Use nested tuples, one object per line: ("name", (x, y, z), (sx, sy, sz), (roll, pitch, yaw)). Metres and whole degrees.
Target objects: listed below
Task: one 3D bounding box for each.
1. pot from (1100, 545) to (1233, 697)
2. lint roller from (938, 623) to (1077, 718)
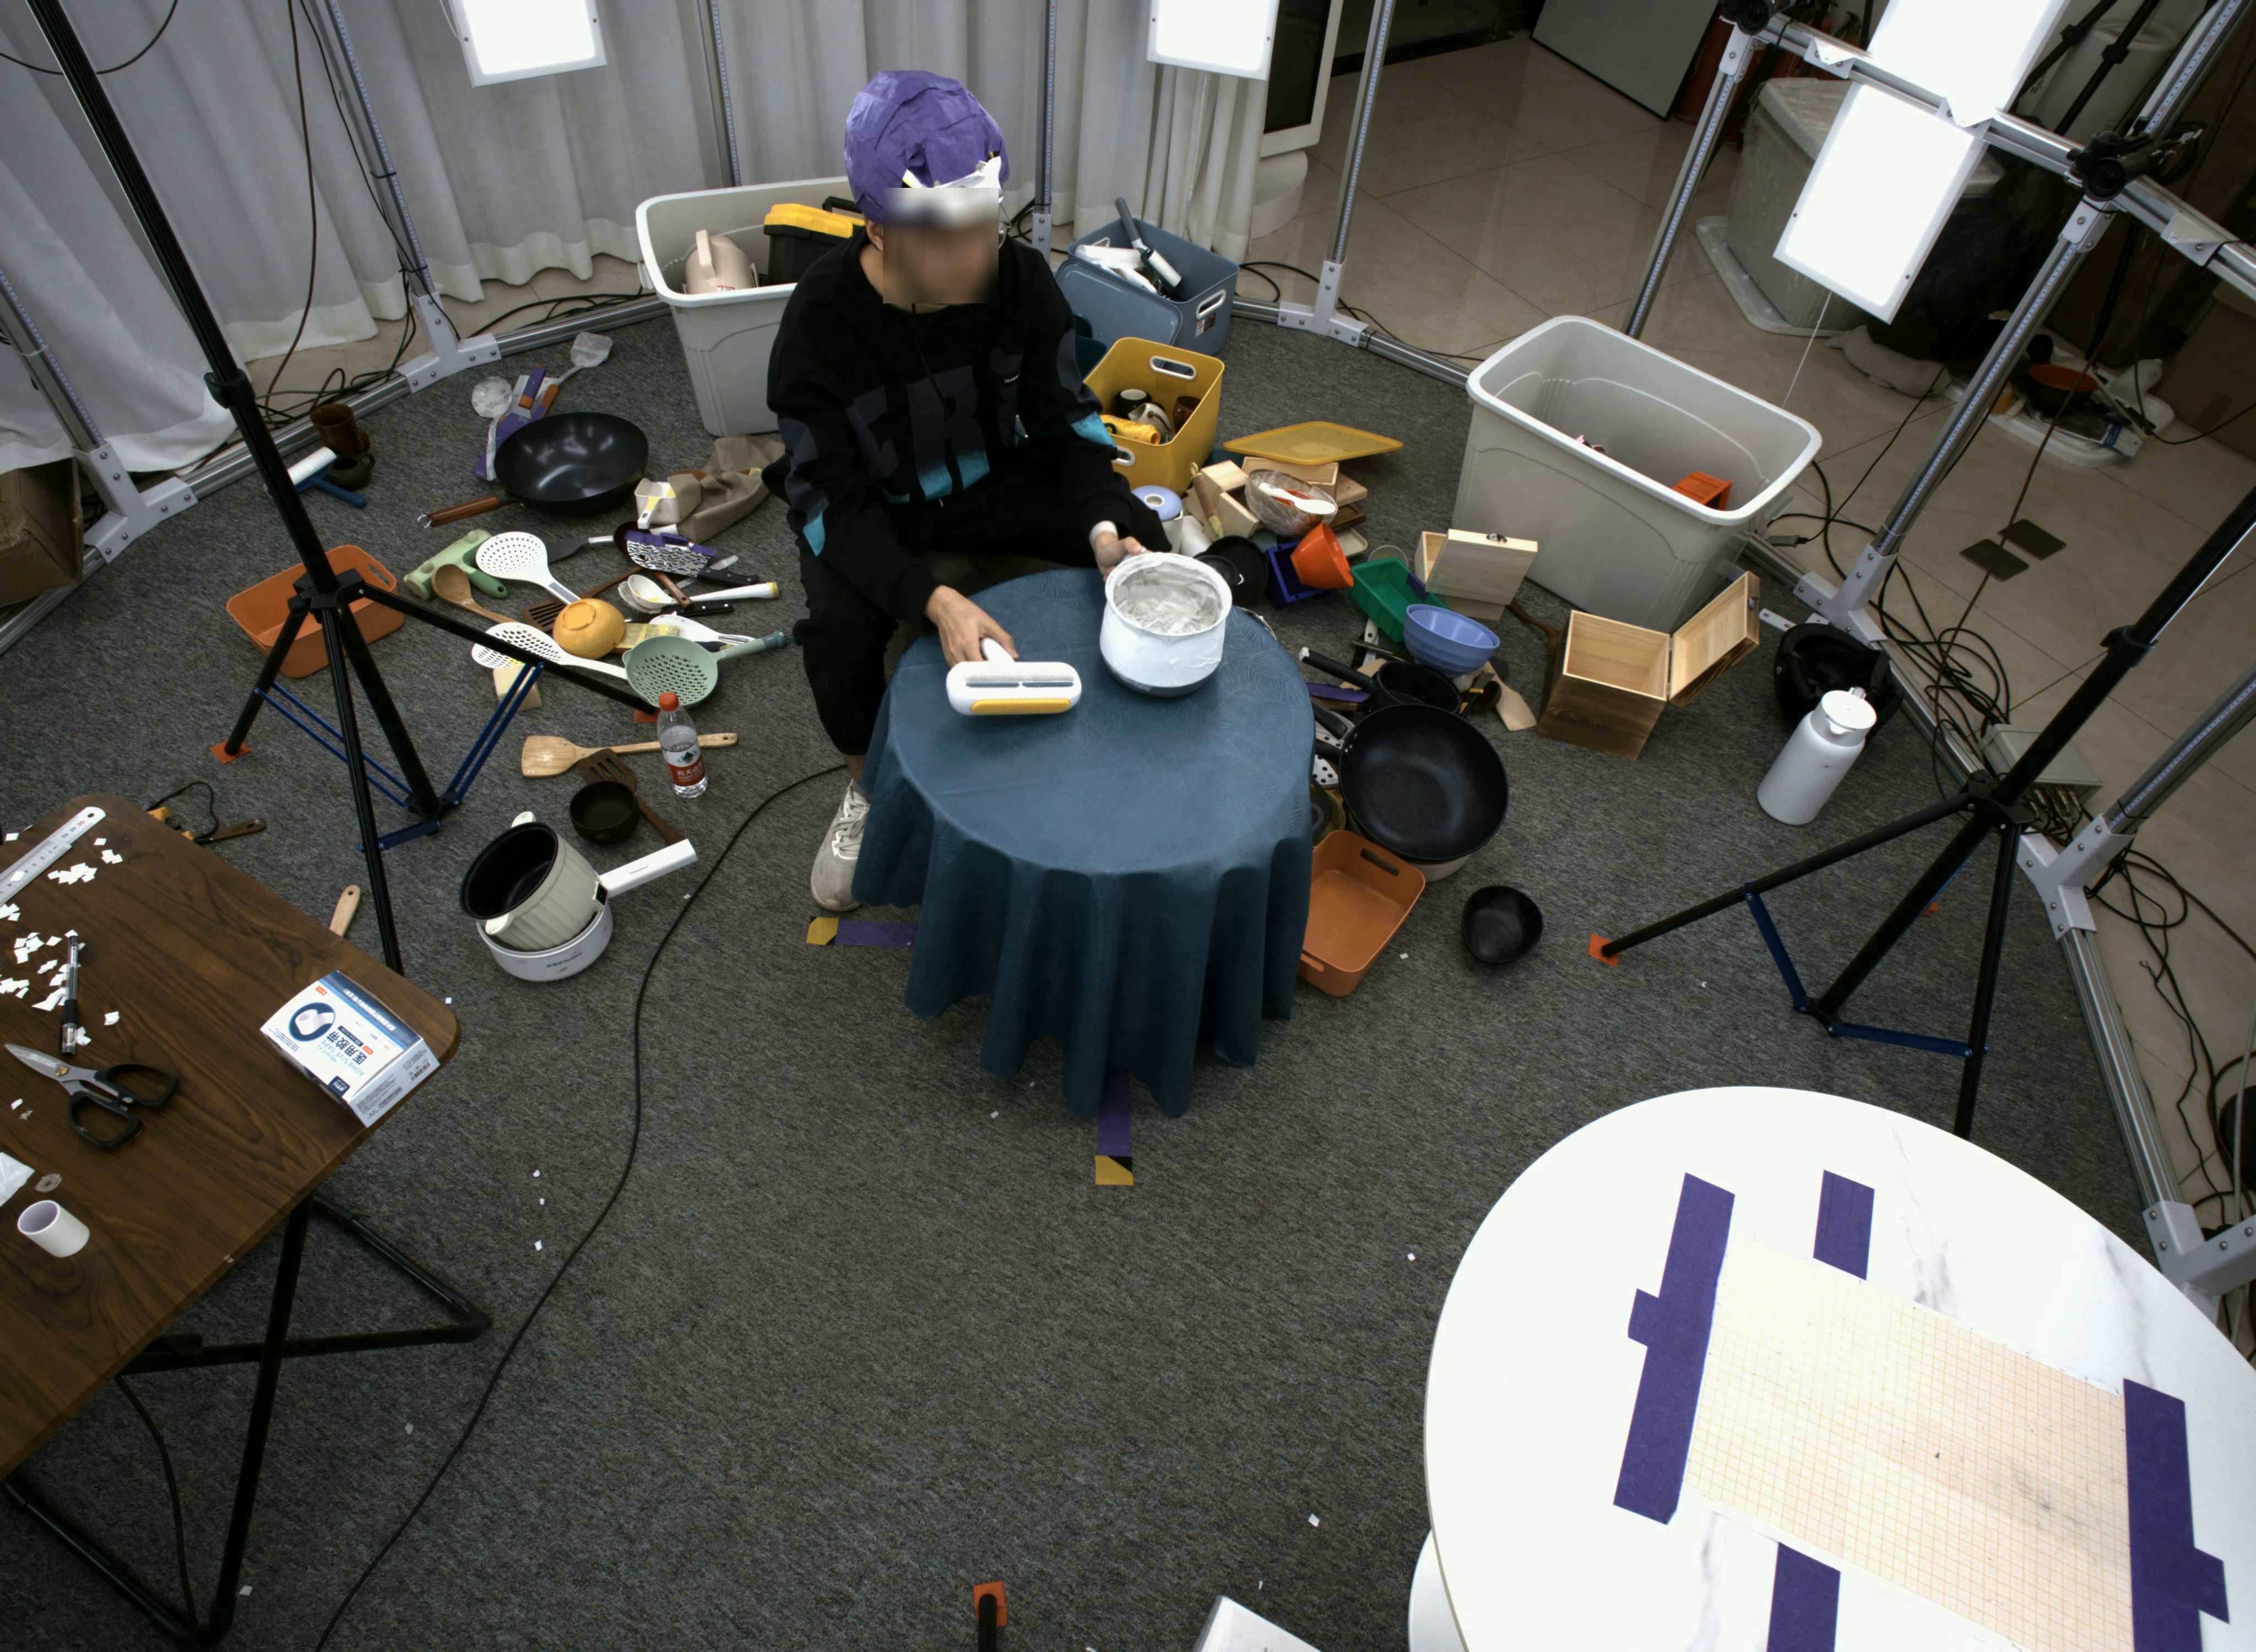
("pot", (0.040, -0.303, 1.840), (0.179, 0.133, 0.239), (-15, 53, -20))
("lint roller", (-0.181, -0.228, 1.798), (0.192, 0.072, 0.197), (-4, 52, -21))
